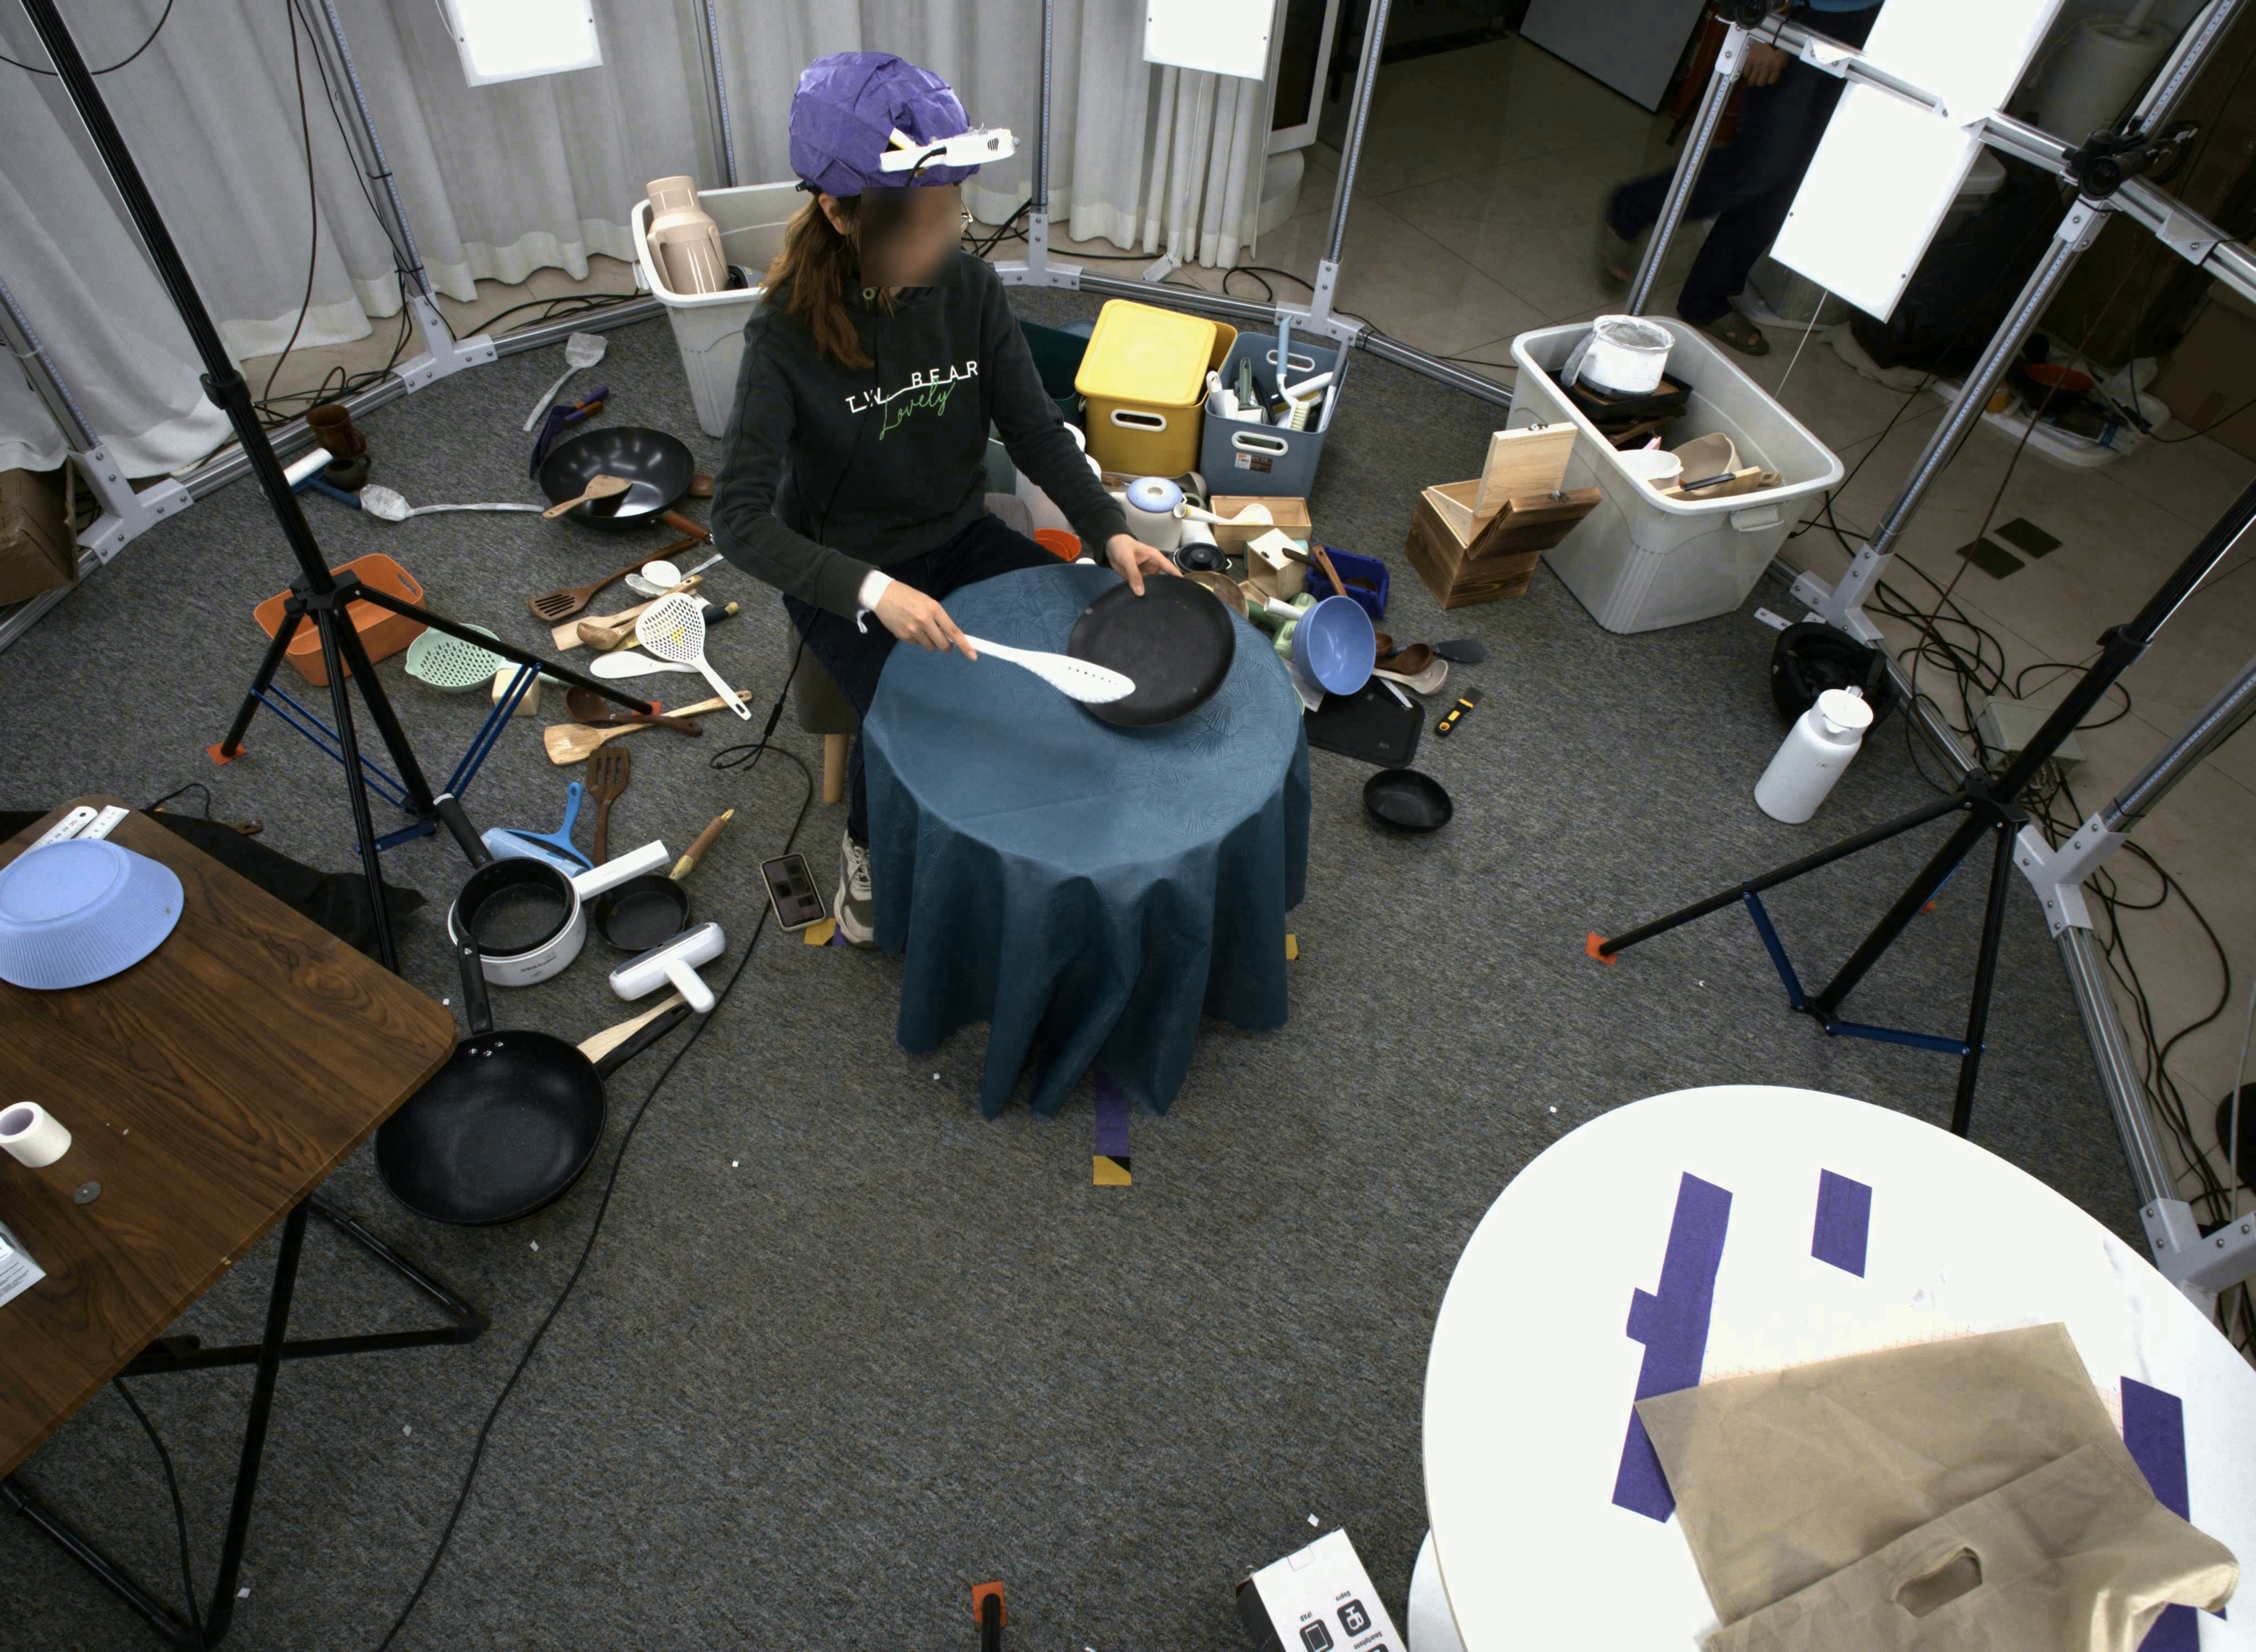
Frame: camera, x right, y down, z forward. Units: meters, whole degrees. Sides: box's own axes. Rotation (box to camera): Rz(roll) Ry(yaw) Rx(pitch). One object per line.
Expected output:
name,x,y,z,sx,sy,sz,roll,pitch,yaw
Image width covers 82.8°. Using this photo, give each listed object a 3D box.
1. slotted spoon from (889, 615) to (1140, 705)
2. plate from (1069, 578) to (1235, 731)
slotted spoon,-0.153,-0.223,1.690,0.351,0.135,0.046,22,87,12
plate,0.034,-0.243,1.828,0.244,0.023,0.249,-6,65,13
